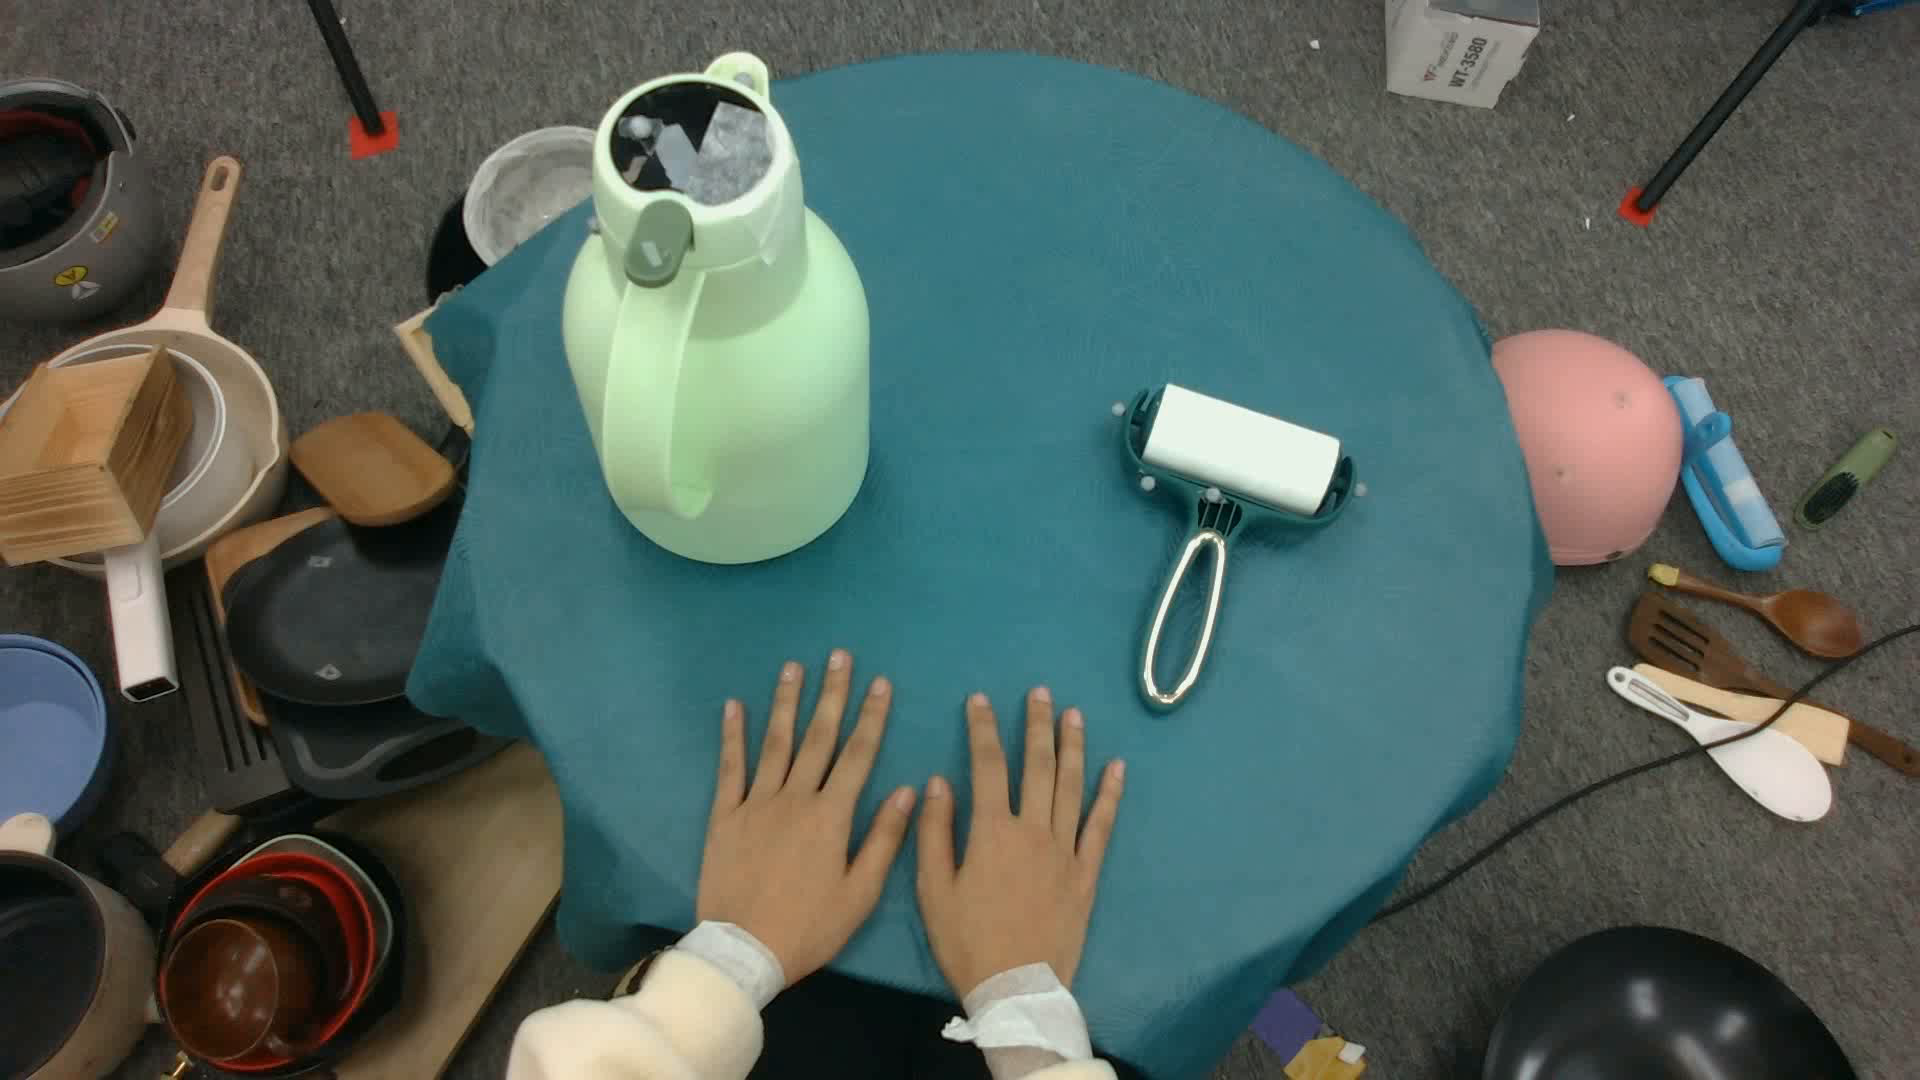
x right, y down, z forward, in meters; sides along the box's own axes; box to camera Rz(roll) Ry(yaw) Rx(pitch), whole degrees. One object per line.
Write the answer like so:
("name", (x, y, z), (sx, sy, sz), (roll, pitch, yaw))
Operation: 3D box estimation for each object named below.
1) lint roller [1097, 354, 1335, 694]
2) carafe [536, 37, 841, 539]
("lint roller", (0.121, -0.006, 0.739), (0.134, 0.048, 0.181), (19, 64, 4))
("carafe", (-0.130, -0.097, 0.644), (0.144, 0.256, 0.187), (13, 68, -2))
